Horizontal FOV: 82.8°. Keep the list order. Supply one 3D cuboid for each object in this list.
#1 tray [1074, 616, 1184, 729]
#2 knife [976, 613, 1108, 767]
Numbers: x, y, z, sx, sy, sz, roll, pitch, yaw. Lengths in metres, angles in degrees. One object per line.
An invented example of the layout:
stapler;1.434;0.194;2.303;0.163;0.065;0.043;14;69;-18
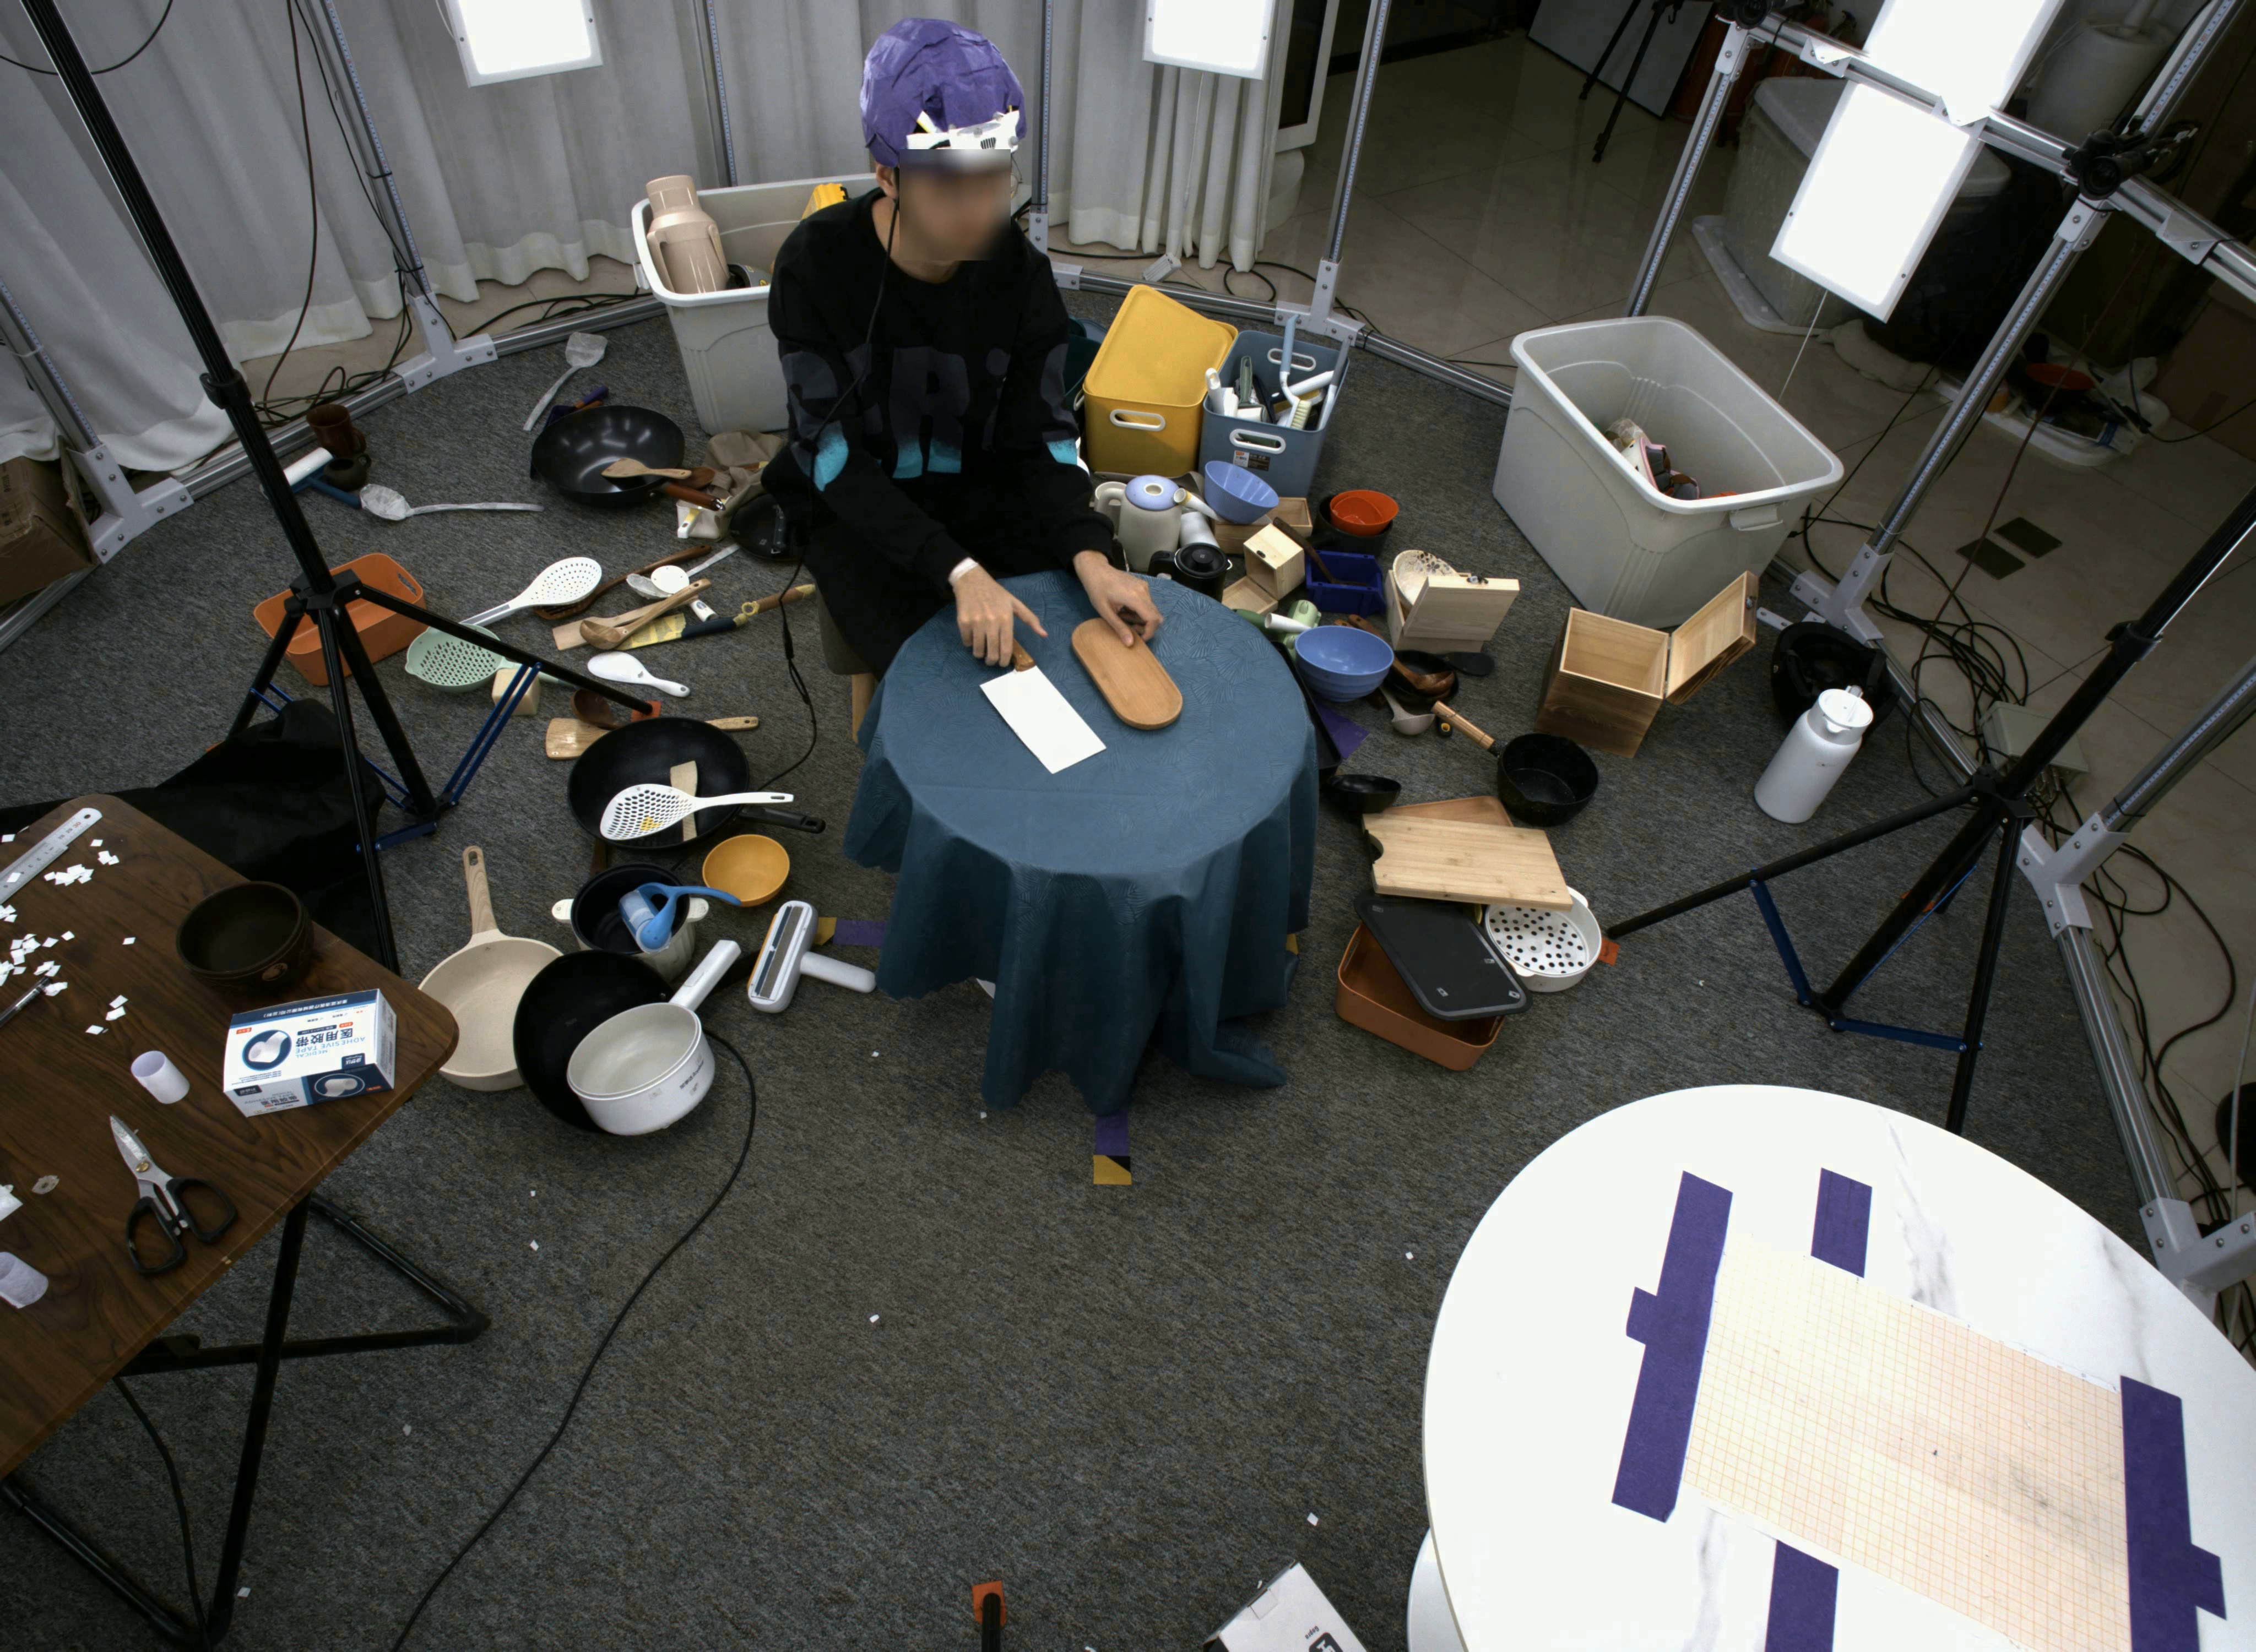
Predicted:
tray;0.000;-0.224;1.852;0.102;0.020;0.236;-17;52;-20
knife;-0.146;-0.192;1.816;0.093;0.020;0.311;-26;58;-22
